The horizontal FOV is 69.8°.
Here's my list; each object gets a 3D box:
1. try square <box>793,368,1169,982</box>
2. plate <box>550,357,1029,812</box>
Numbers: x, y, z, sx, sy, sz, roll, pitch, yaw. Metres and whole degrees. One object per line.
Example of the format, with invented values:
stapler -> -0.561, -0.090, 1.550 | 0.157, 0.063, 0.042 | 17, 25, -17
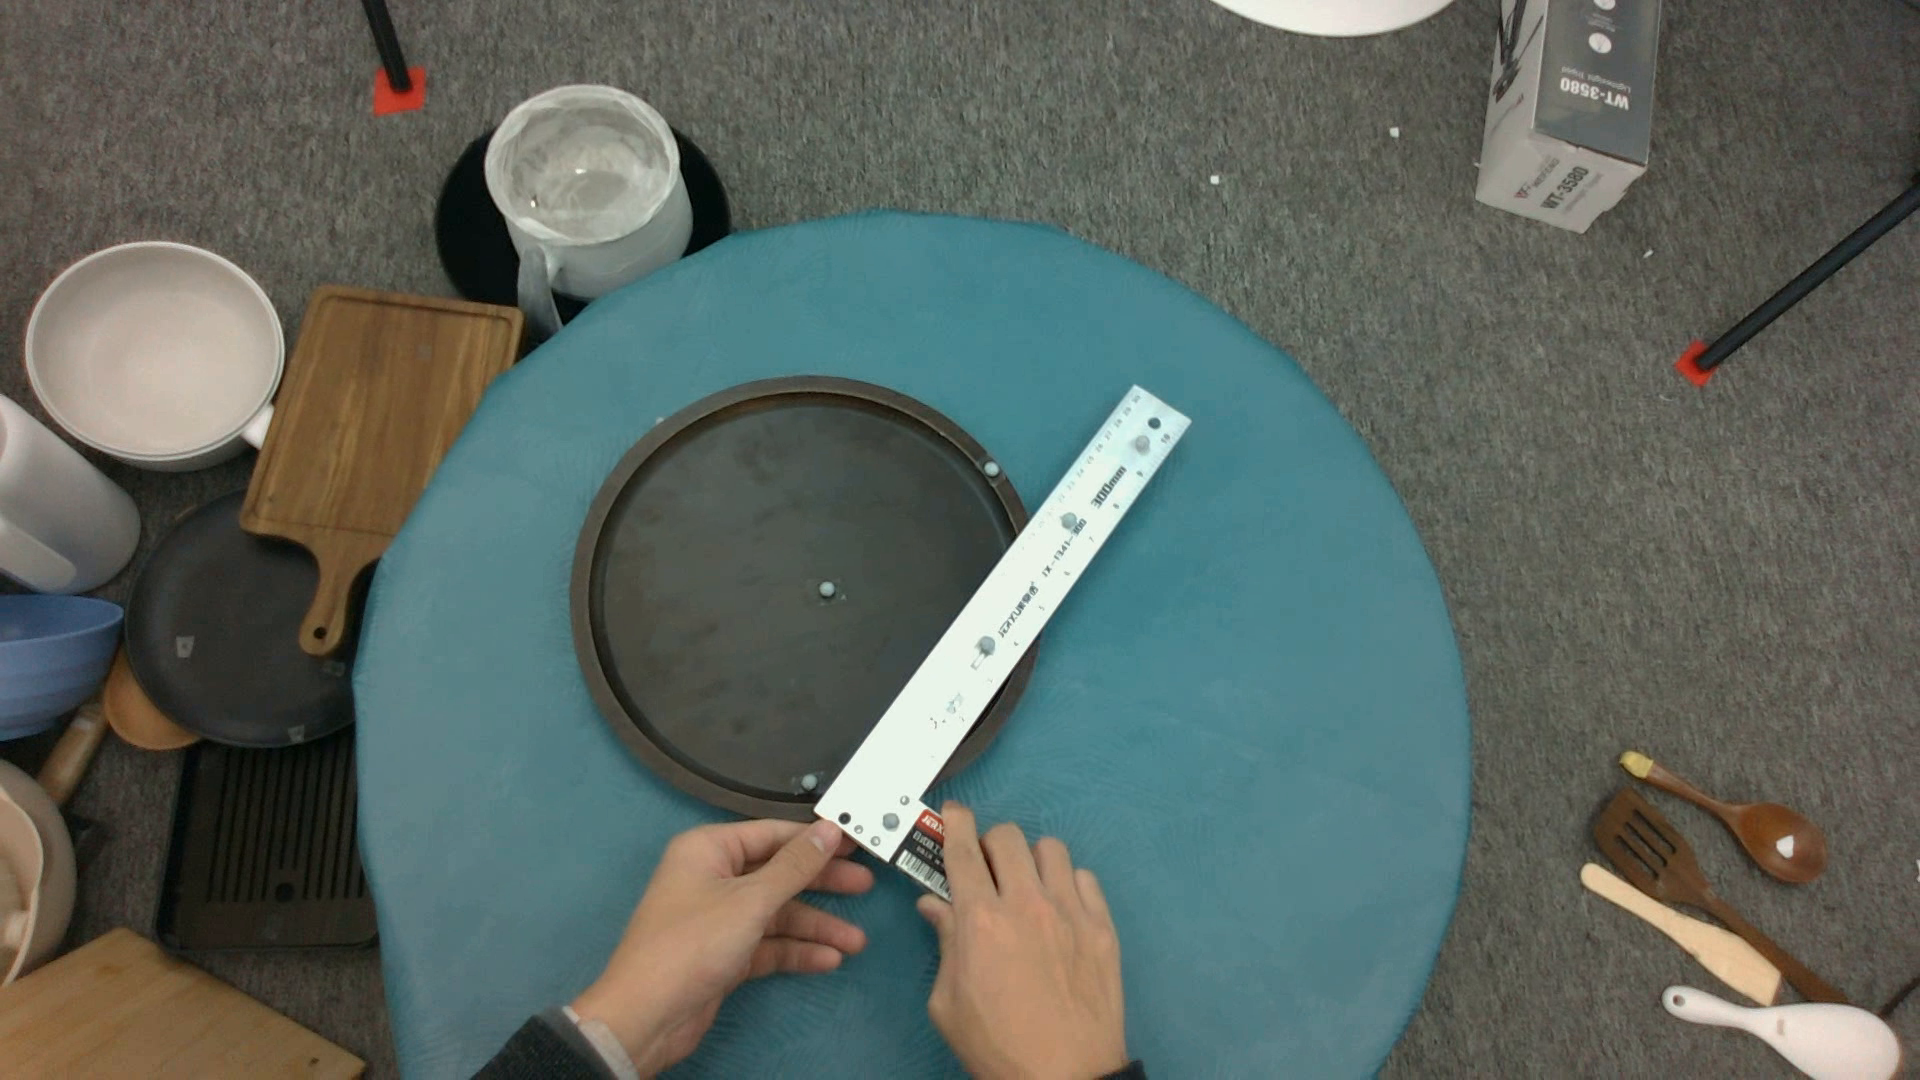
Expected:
try square -> 0.063, 0.058, 0.734 | 0.152, 0.016, 0.314 | 34, 68, 7
plate -> -0.089, 0.020, 0.740 | 0.255, 0.029, 0.255 | 3, 69, -8
